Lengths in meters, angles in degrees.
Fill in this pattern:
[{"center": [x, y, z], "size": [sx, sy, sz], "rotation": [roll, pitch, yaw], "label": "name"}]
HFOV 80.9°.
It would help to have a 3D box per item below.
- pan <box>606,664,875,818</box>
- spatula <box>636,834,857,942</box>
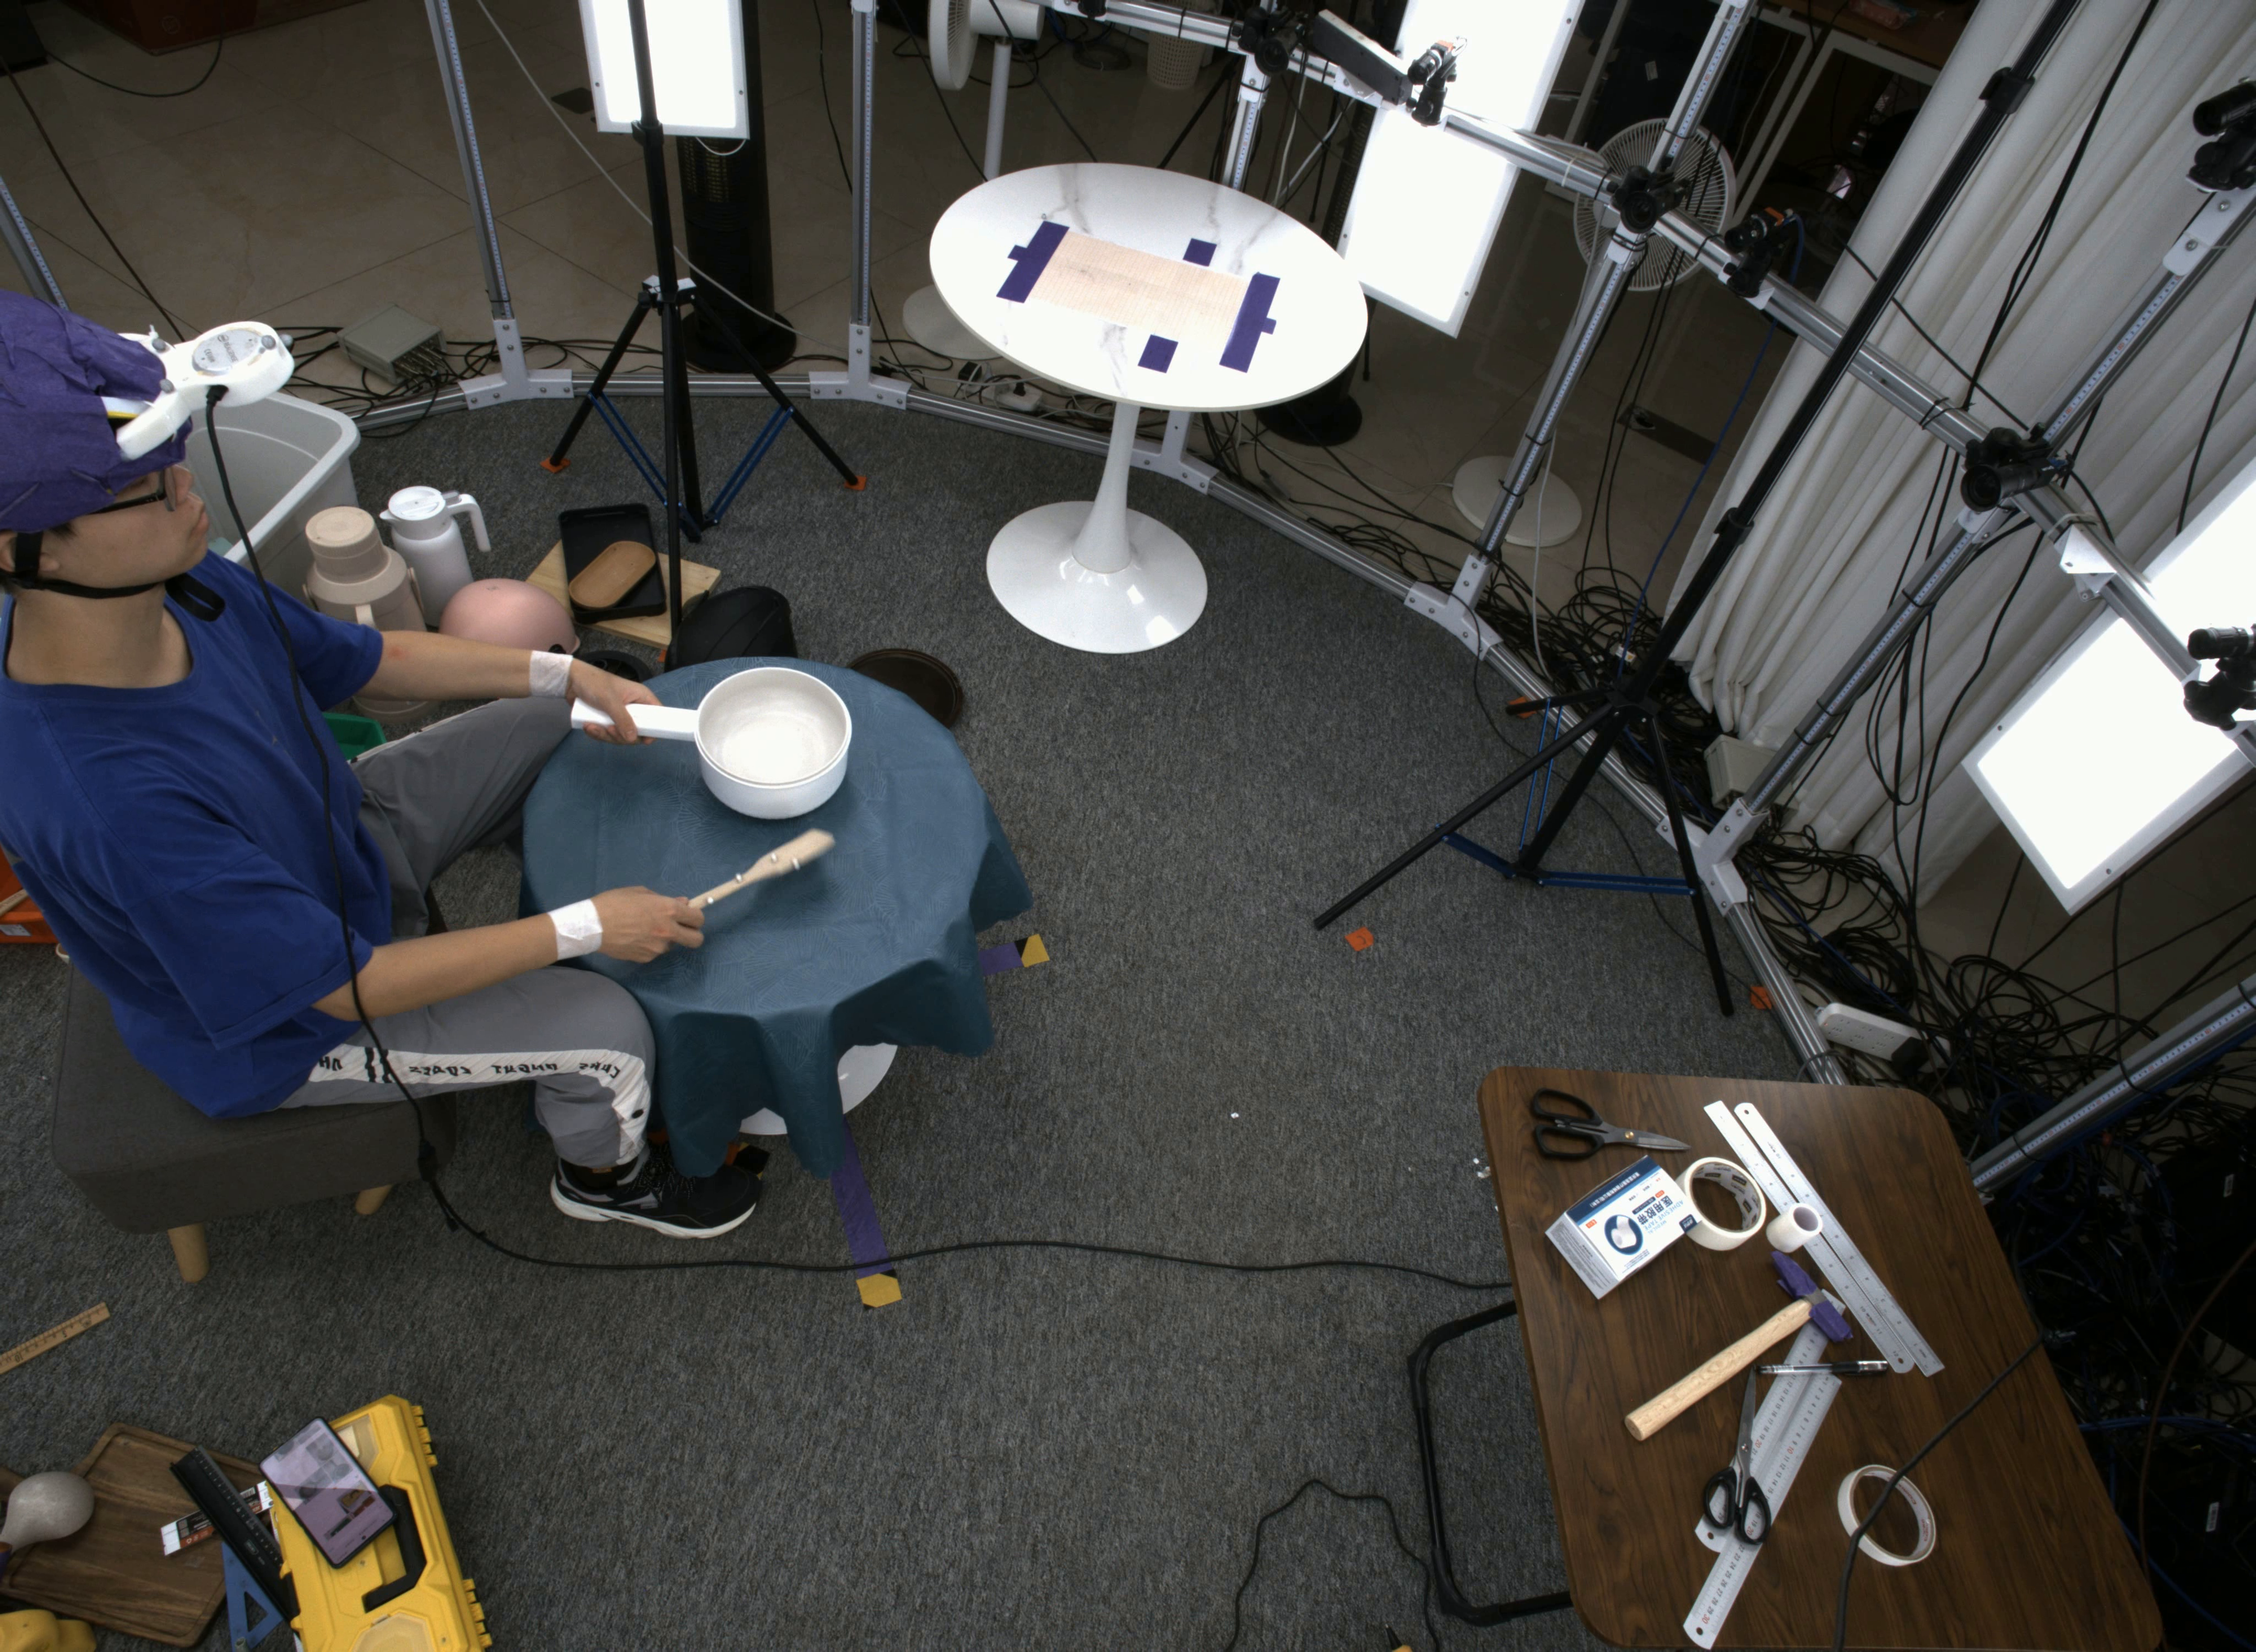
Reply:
[{"center": [-0.518, -0.118, 1.727], "size": [0.355, 0.104, 0.198], "rotation": [6, 56, -12], "label": "pan"}, {"center": [-0.474, 0.076, 1.607], "size": [0.294, 0.011, 0.069], "rotation": [-27, 30, -31], "label": "spatula"}]
